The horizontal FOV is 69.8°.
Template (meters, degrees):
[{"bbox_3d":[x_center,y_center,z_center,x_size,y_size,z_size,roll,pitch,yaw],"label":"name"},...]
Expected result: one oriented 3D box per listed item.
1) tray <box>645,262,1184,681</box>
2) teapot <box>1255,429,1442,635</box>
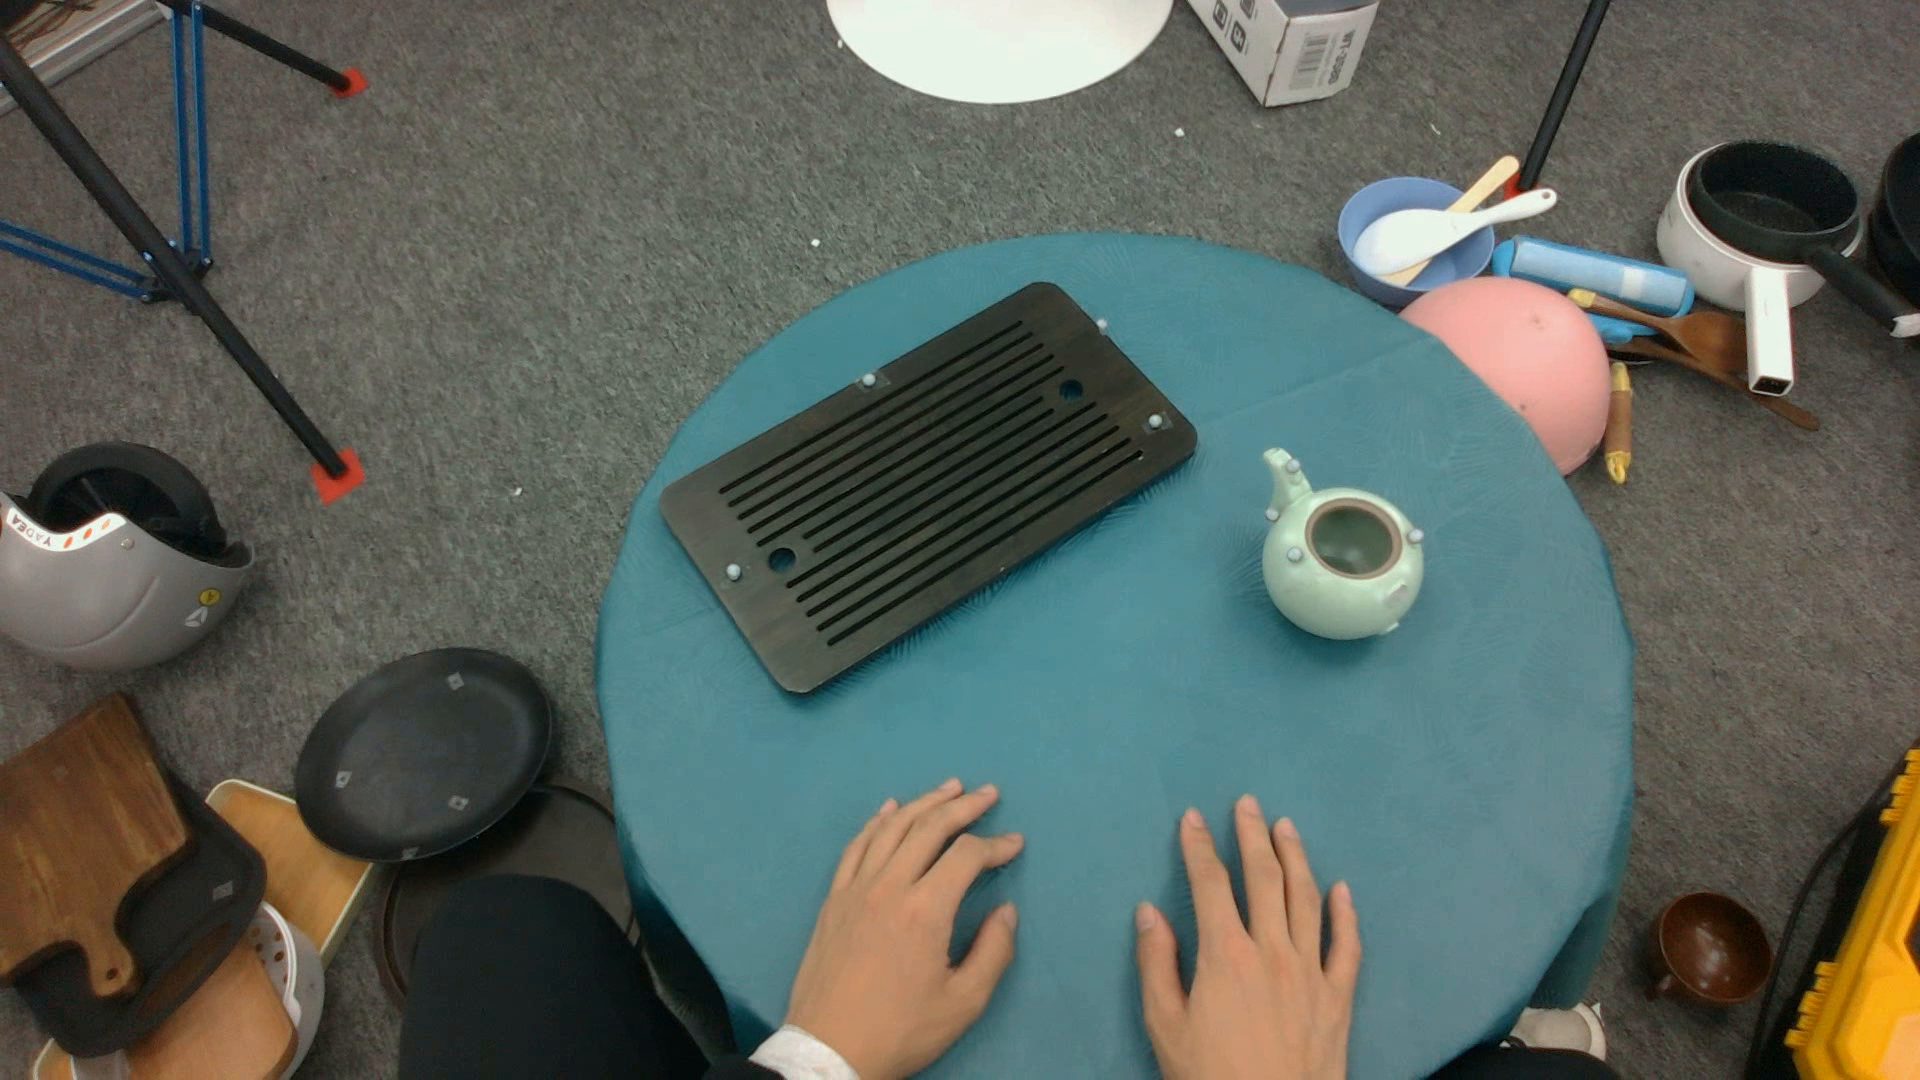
[{"bbox_3d":[-0.026,-0.051,0.854,0.307,0.018,0.170,-32,64,-16],"label":"tray"},{"bbox_3d":[0.214,0.003,0.785,0.088,0.074,0.144,-30,62,-15],"label":"teapot"}]
